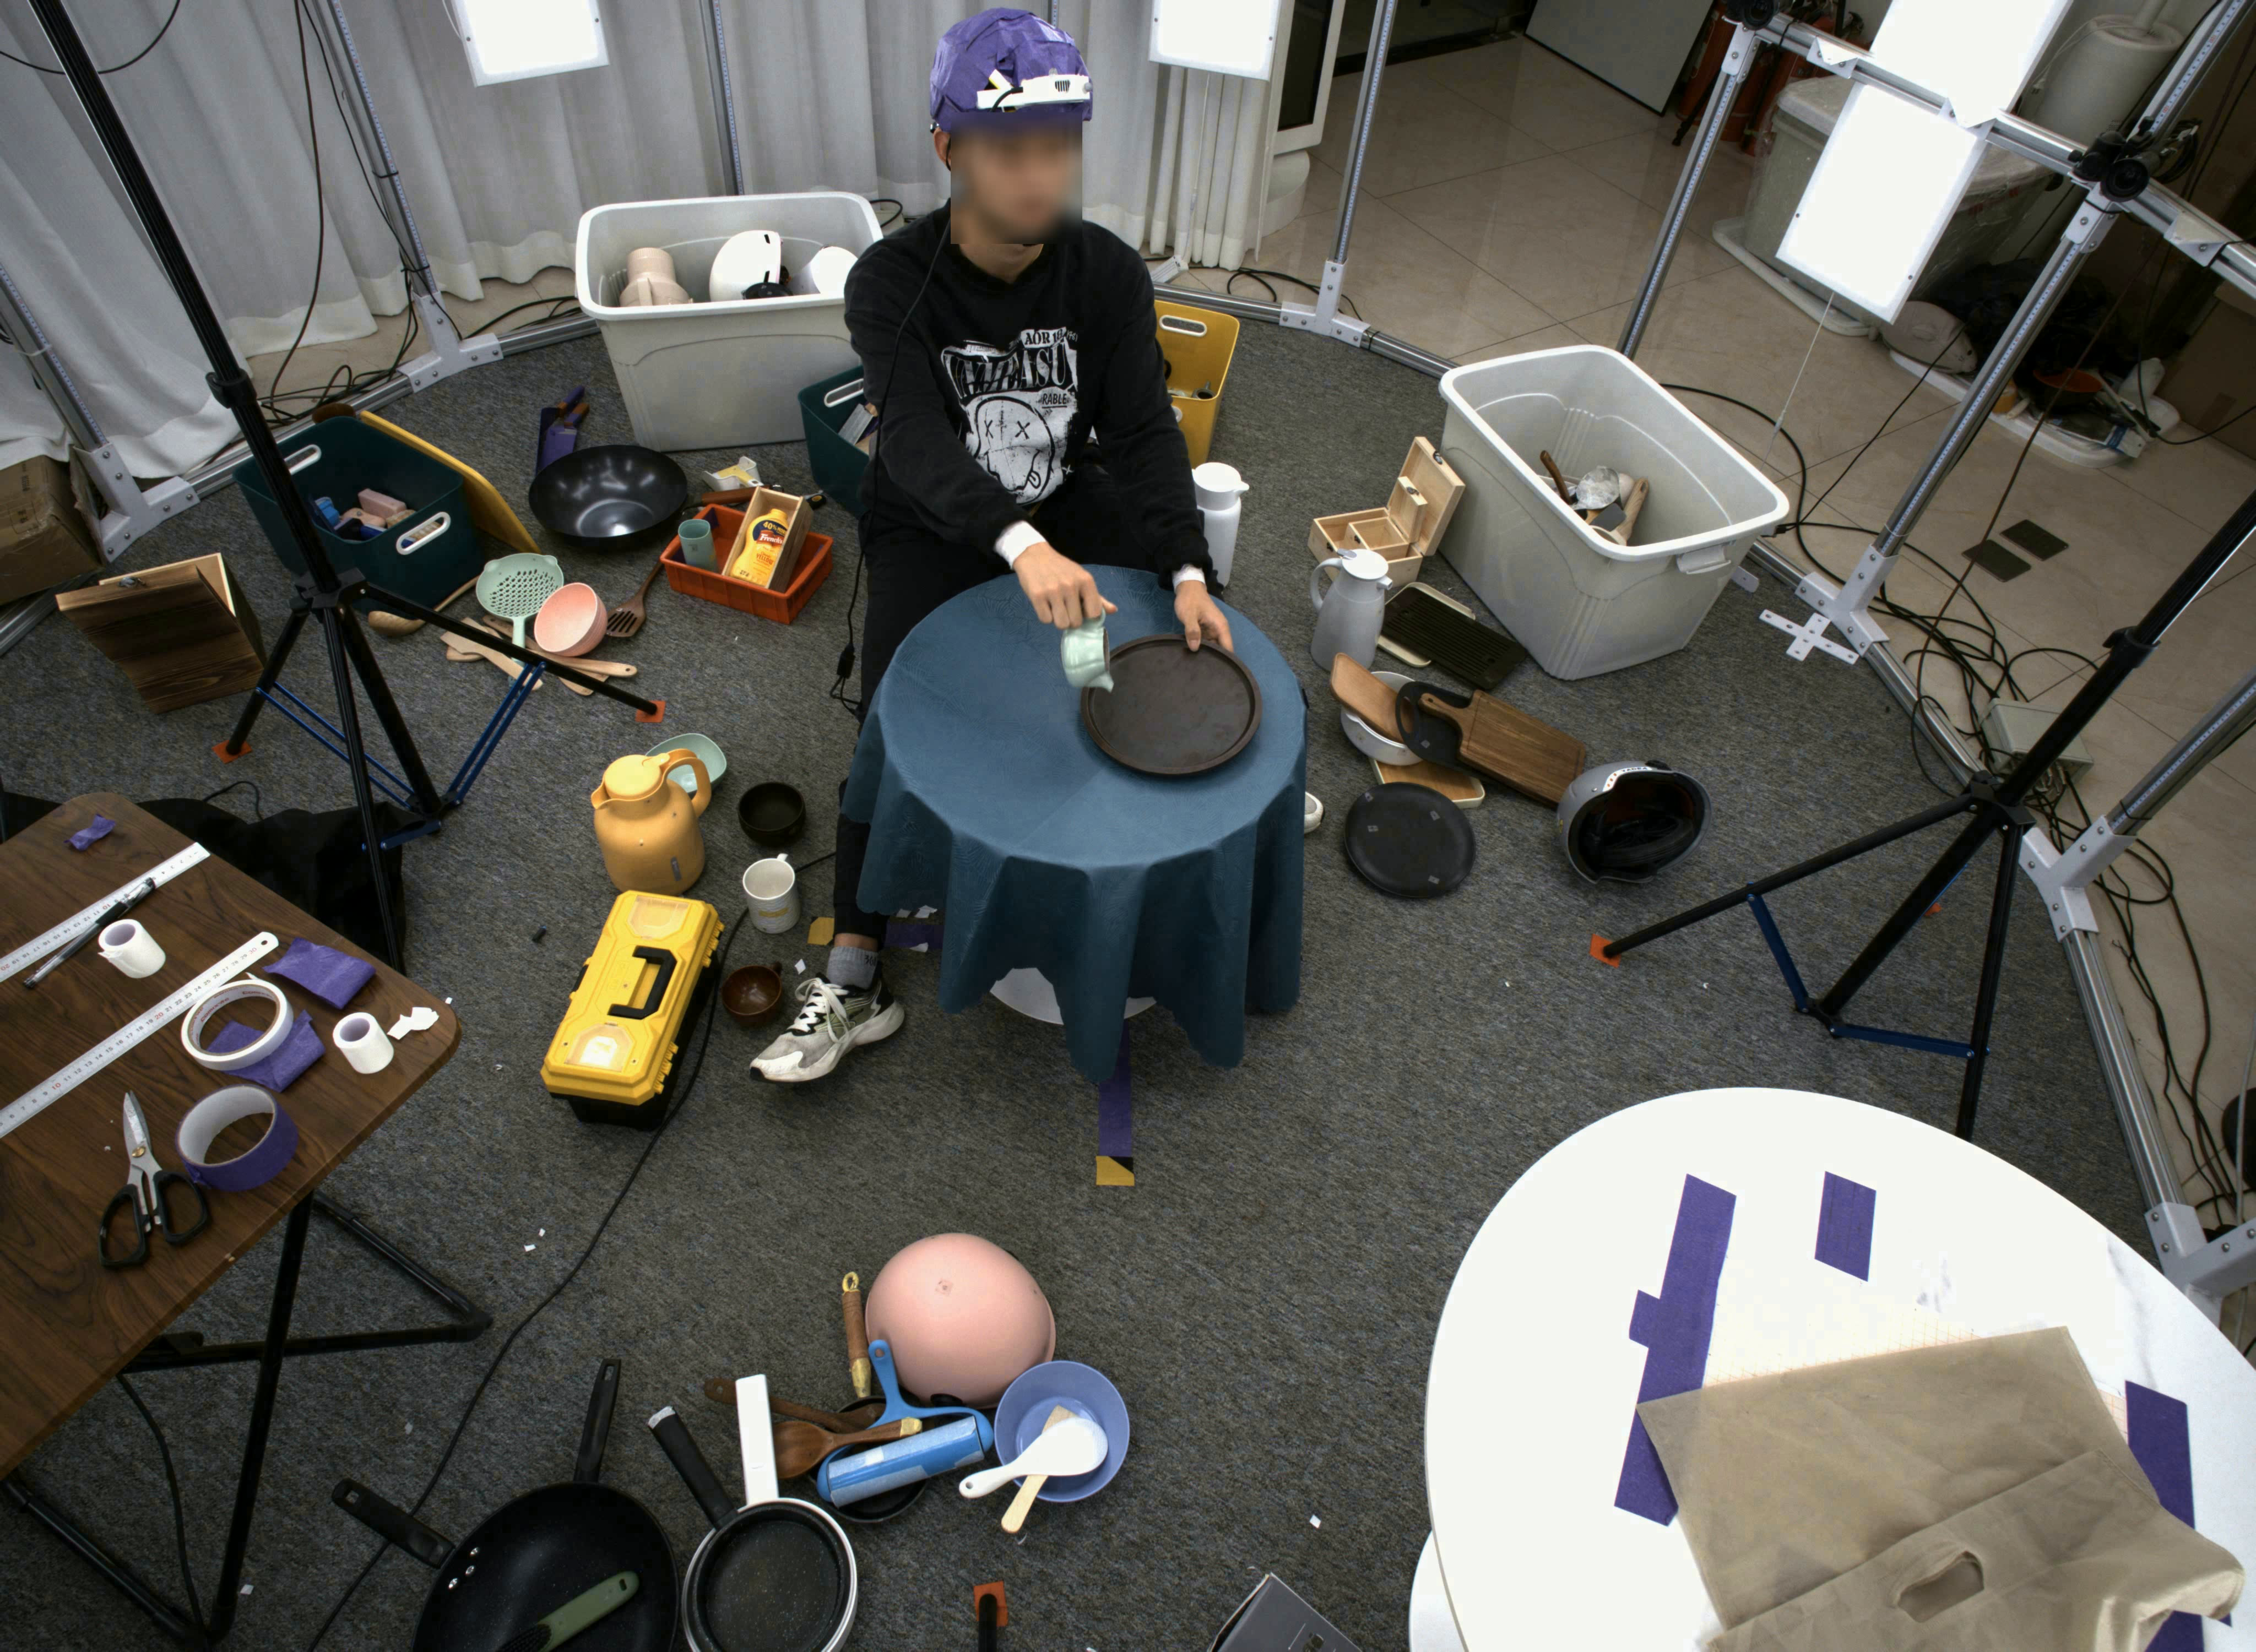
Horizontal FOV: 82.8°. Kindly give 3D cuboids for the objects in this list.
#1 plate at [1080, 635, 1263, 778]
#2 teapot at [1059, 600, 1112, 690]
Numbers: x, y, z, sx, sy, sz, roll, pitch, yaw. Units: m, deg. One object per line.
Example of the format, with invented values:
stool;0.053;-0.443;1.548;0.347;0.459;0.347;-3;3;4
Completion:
plate;0.060;-0.168;1.788;0.254;0.028;0.261;-1;55;1
teapot;-0.056;-0.235;1.684;0.061;0.133;0.098;-1;38;7
